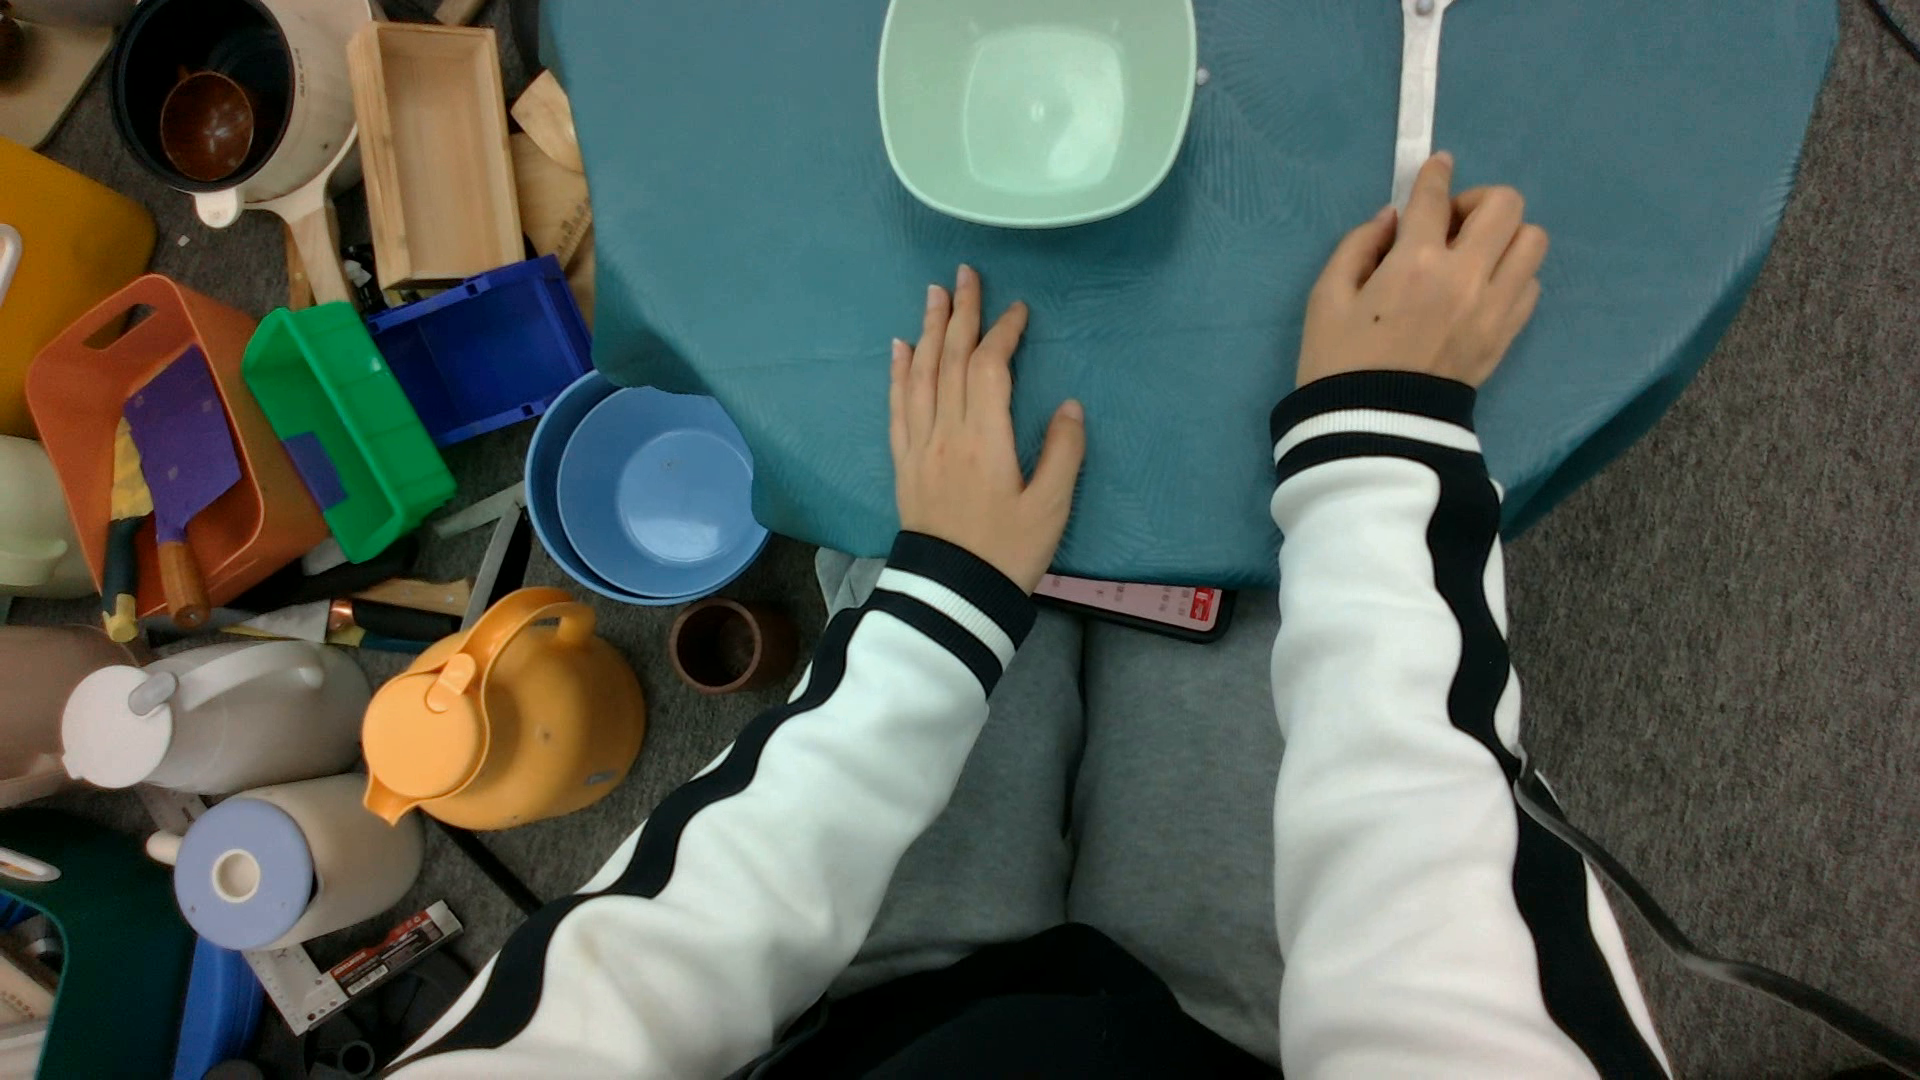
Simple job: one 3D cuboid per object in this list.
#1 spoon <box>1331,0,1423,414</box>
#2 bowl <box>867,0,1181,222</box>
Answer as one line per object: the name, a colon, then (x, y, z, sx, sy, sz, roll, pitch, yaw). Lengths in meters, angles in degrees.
spoon: (0.187, -0.197, 0.609, 0.100, 0.059, 0.277, 8, 87, 13)
bowl: (0.031, -0.207, 0.633, 0.151, 0.058, 0.151, -1, 85, 8)
